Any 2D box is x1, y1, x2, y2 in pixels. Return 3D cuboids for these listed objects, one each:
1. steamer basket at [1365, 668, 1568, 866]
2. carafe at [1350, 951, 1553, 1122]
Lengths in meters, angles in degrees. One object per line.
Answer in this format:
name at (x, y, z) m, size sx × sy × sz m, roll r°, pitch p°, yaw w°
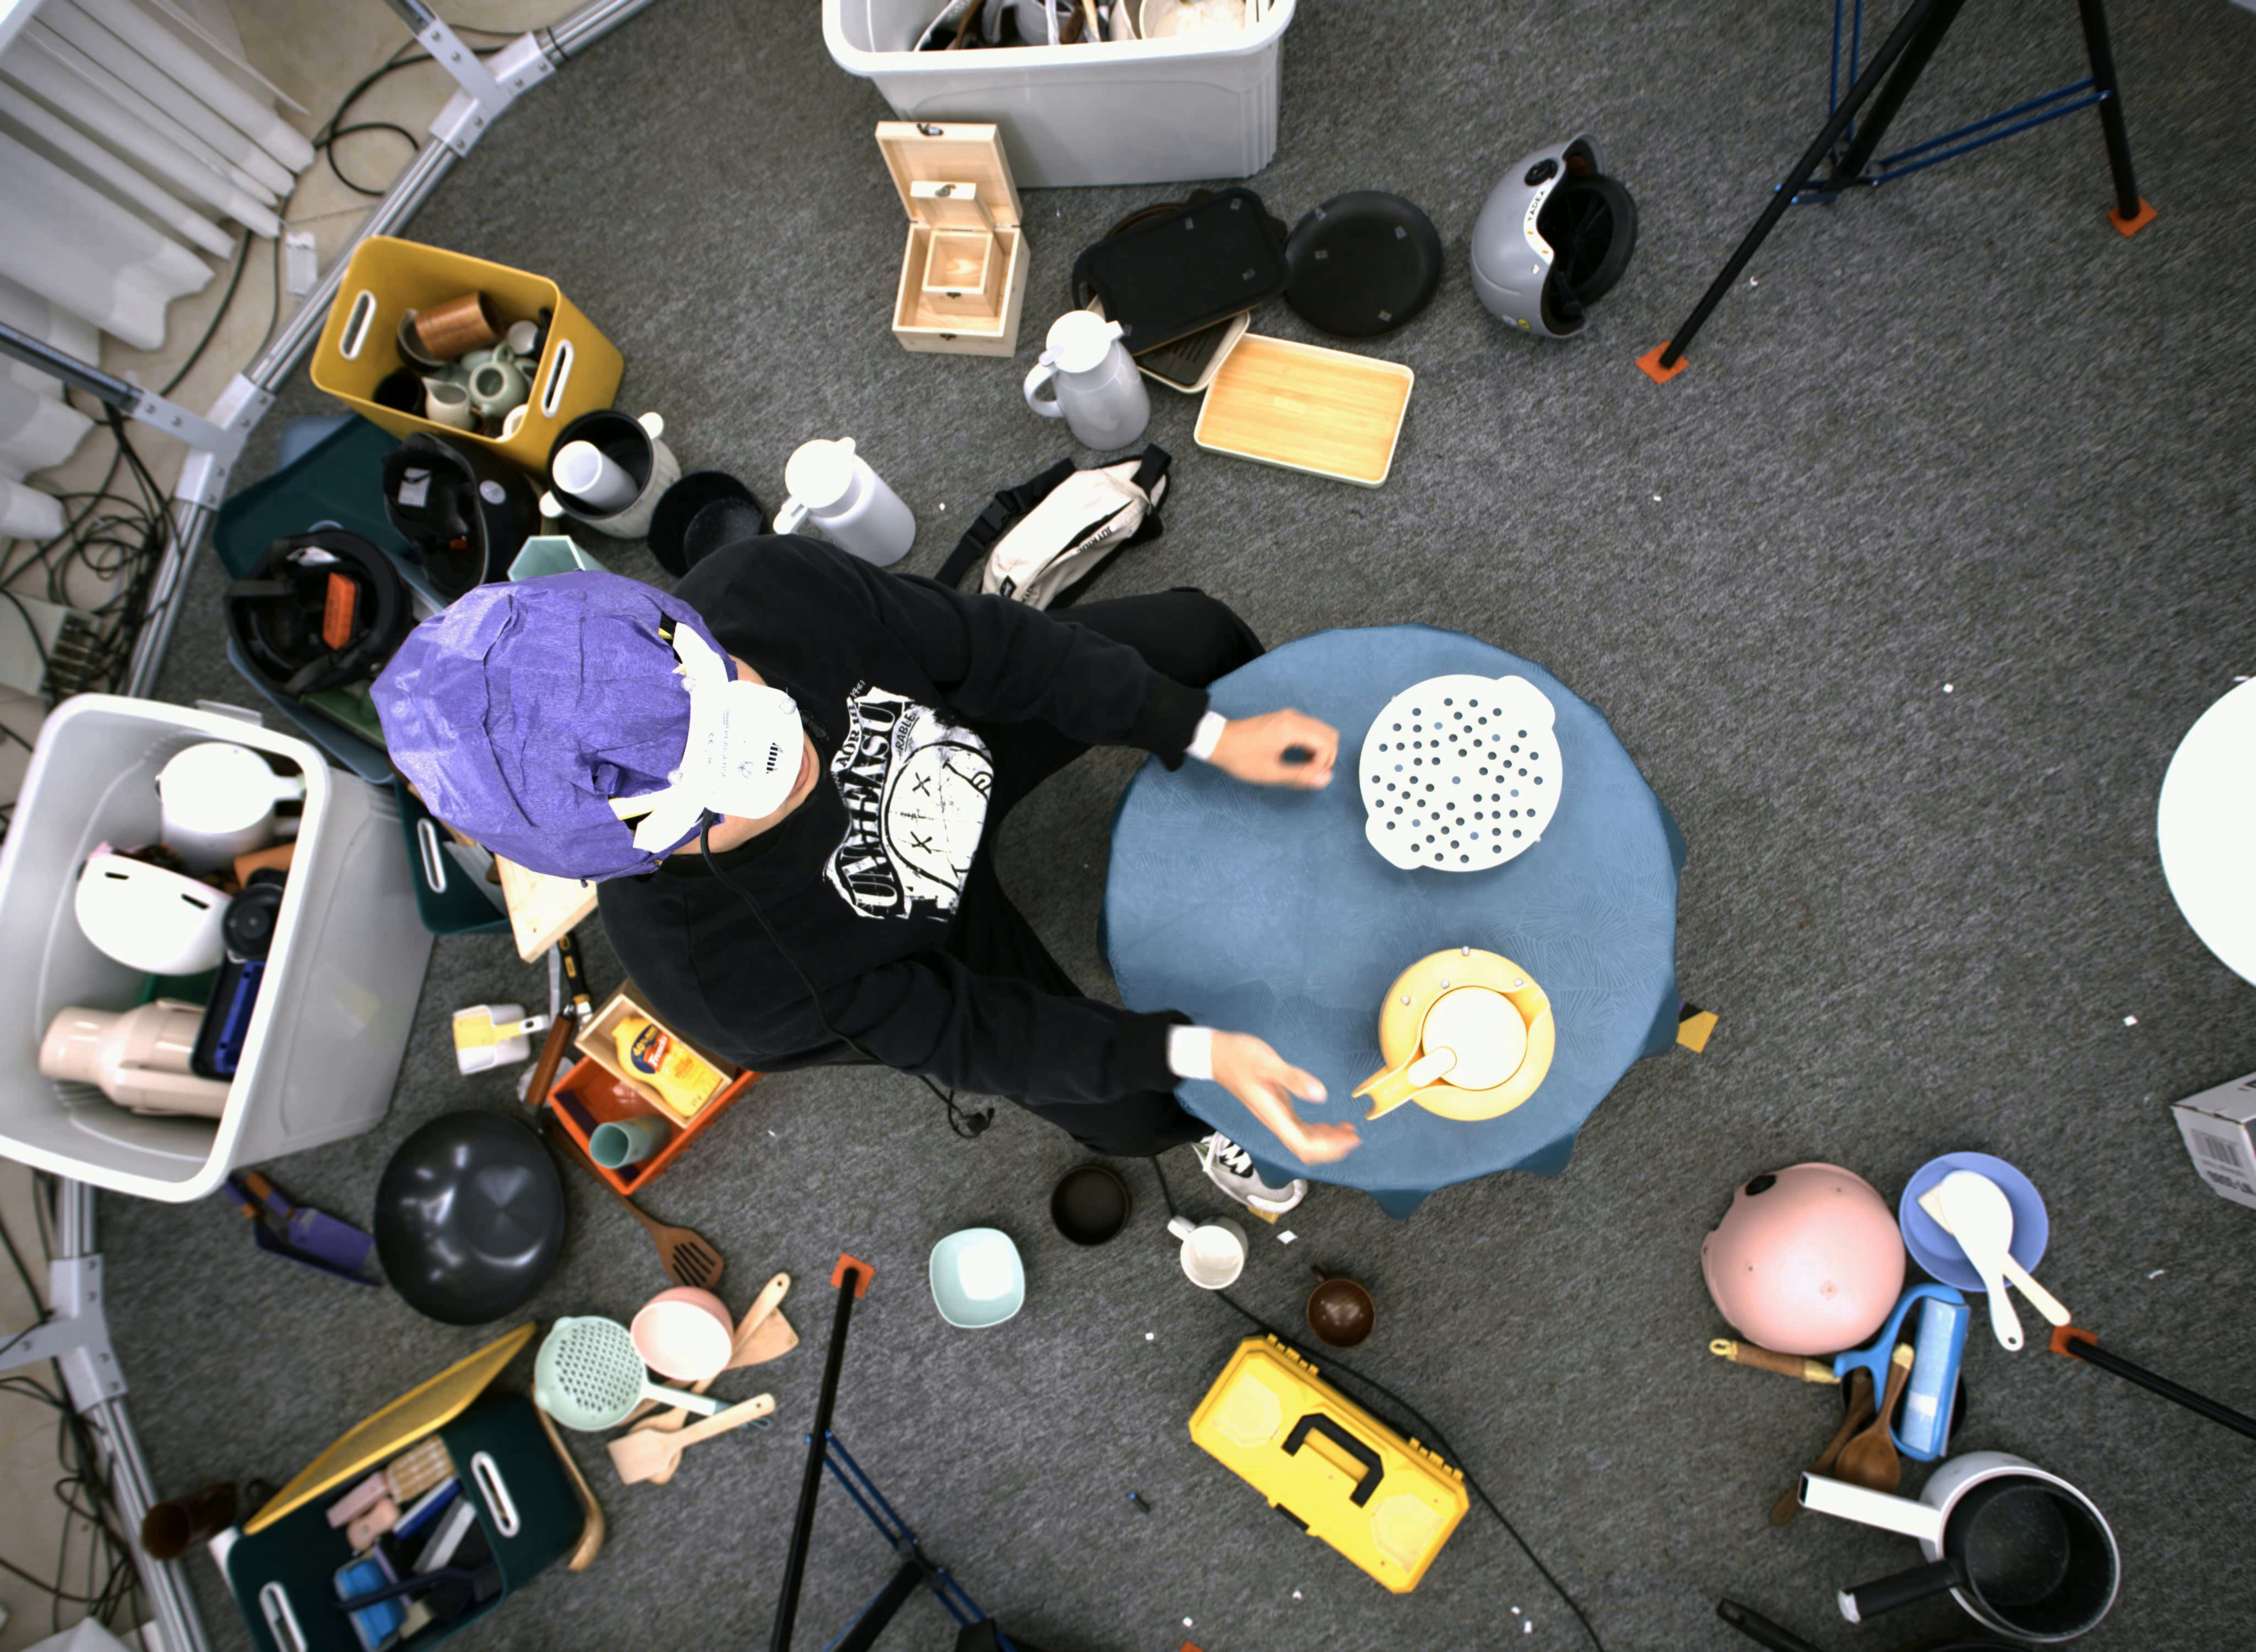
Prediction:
steamer basket at (0.343, -0.059, 1.408) m, size 0.201 × 0.069 × 0.230 m, roll 44°, pitch 86°, yaw 6°
carafe at (0.303, 0.206, 1.315) m, size 0.203 × 0.261 × 0.162 m, roll -31°, pitch 78°, yaw 5°
